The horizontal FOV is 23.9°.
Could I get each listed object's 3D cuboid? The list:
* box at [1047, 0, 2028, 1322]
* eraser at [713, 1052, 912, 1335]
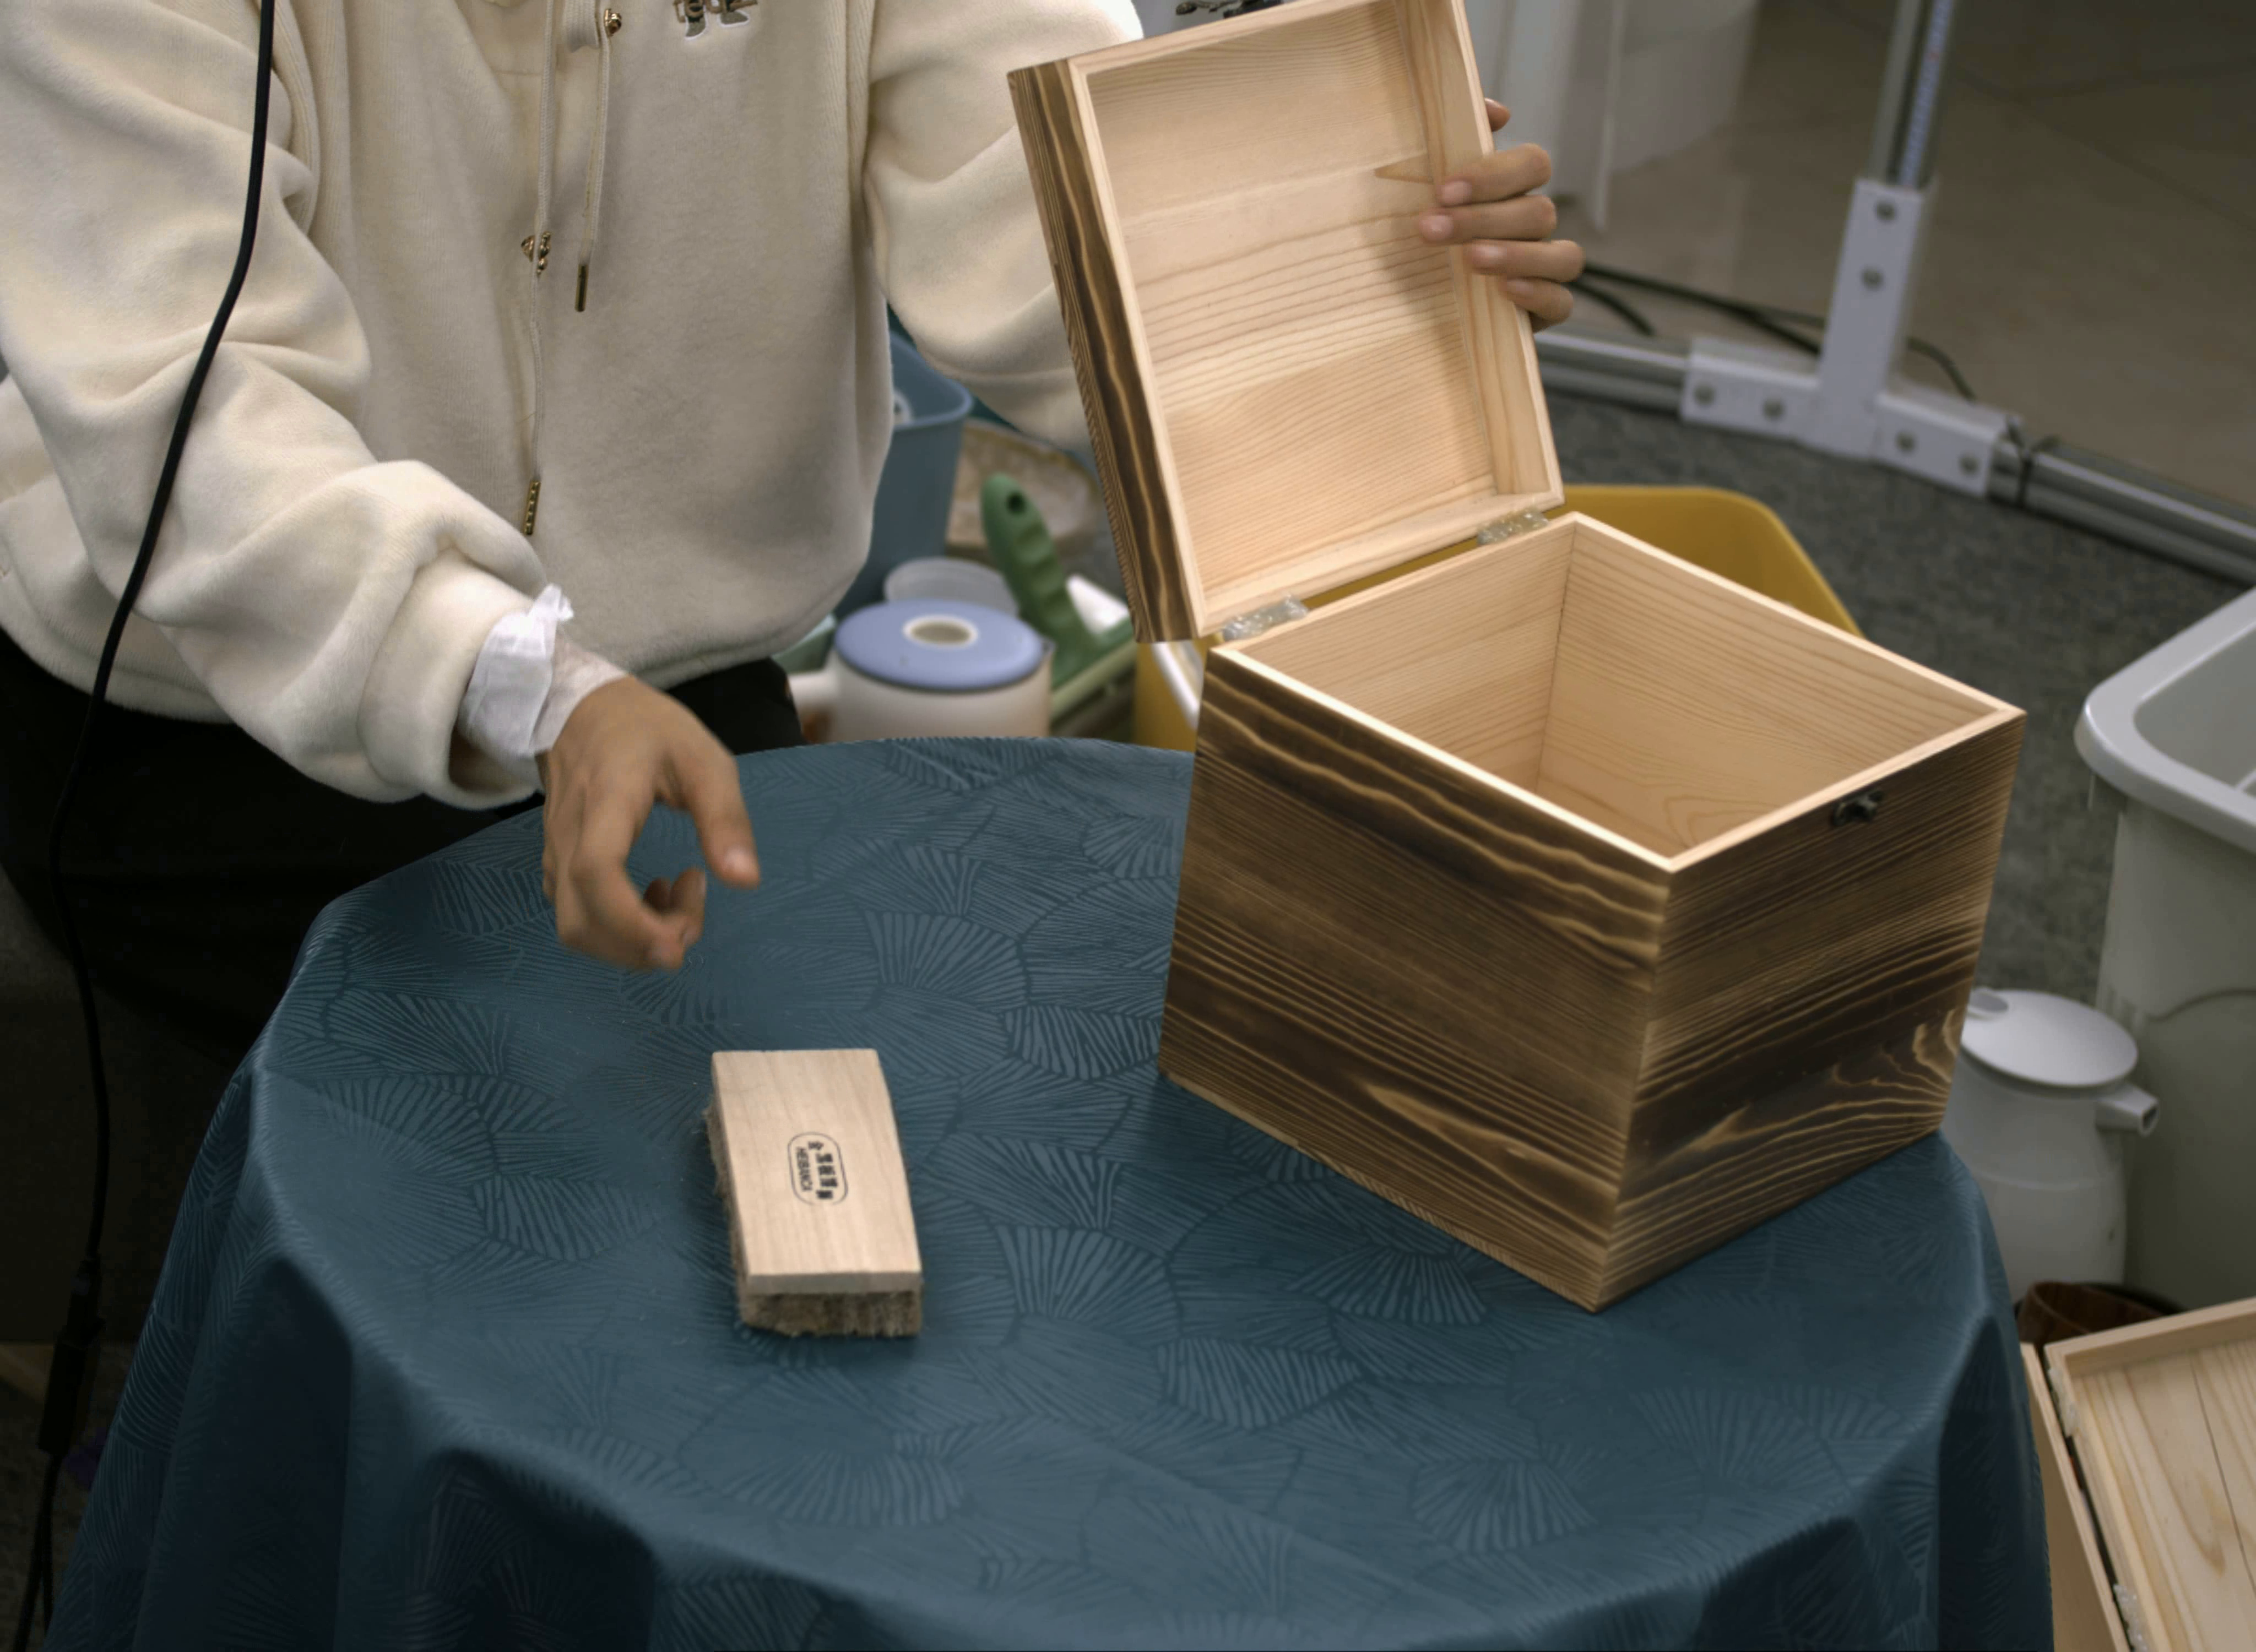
[{"bbox_3d":[0.130,-0.082,1.831,0.324,0.374,0.208,28,34,34],"label":"box"},{"bbox_3d":[-0.105,0.120,1.753,0.057,0.029,0.140,0,27,-8],"label":"eraser"}]
